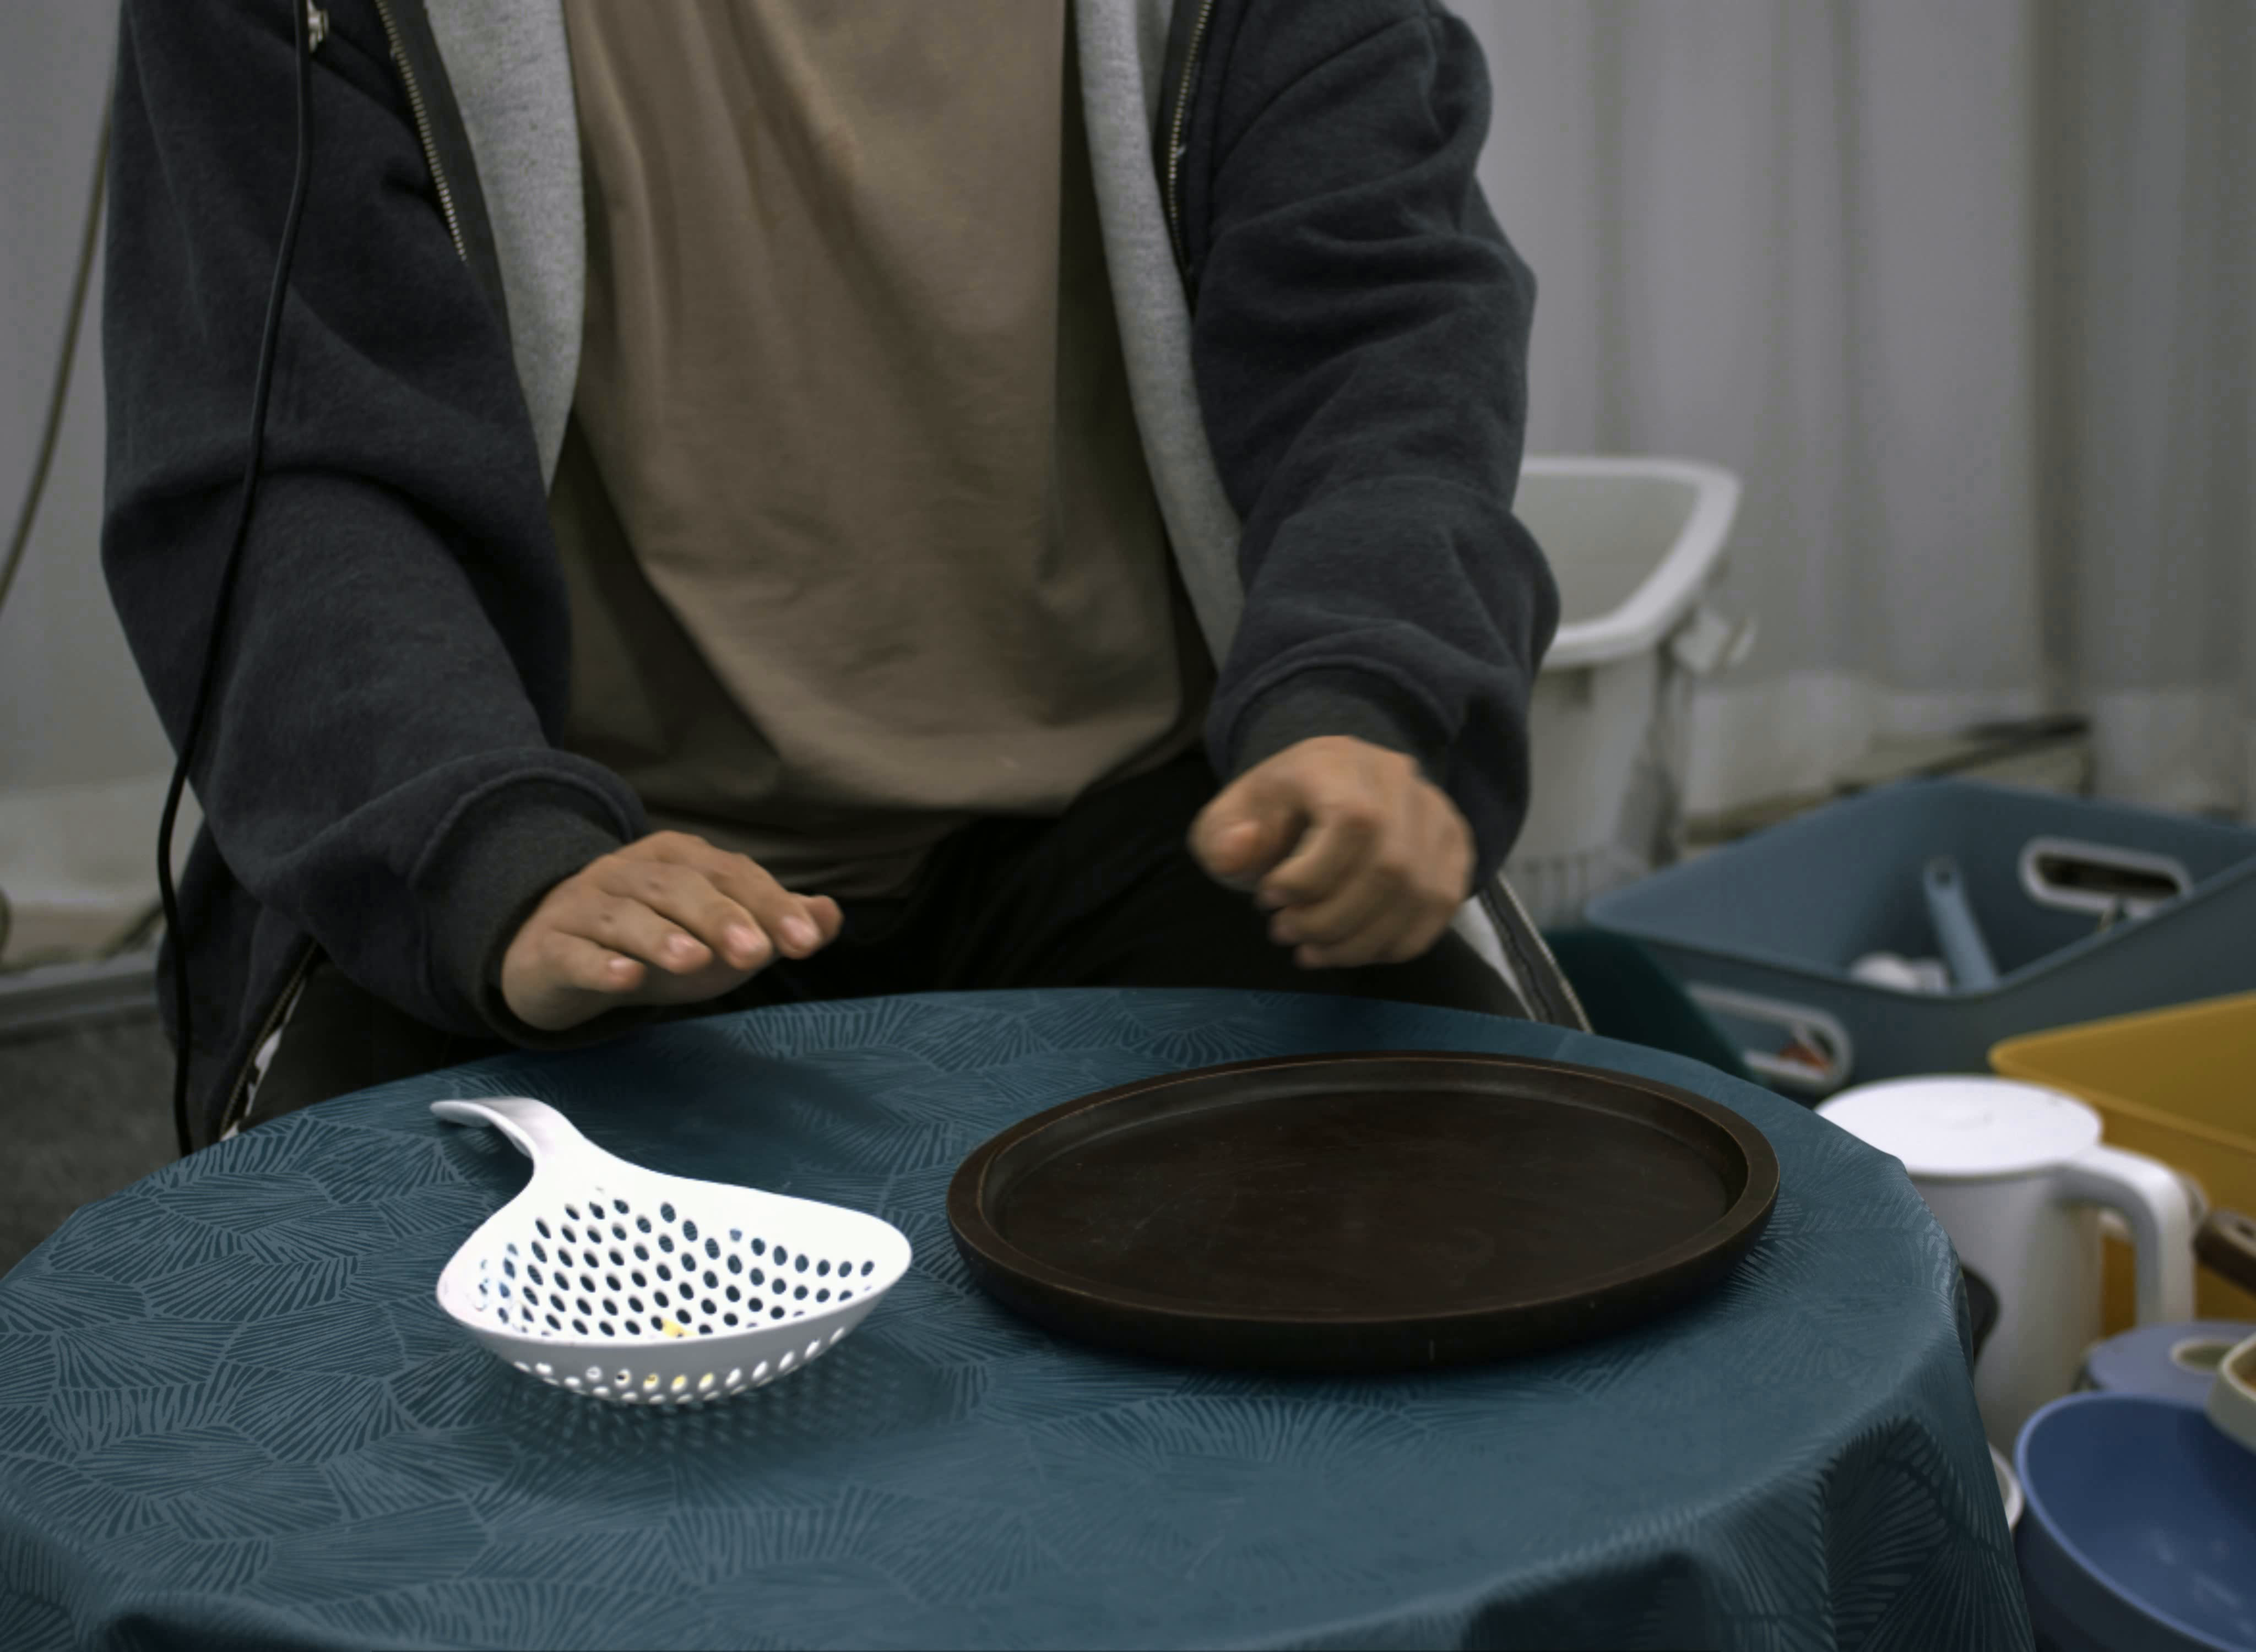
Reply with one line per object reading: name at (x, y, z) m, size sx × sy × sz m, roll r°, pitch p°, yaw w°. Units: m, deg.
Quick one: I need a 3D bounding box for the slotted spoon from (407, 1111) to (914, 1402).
slotted spoon at (-0.167, 0.117, 1.662) m, size 0.136 × 0.050 × 0.351 m, roll -10°, pitch 17°, yaw -19°

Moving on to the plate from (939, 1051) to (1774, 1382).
plate at (0.069, 0.115, 1.654) m, size 0.254 × 0.029 × 0.256 m, roll -4°, pitch 15°, yaw 1°
